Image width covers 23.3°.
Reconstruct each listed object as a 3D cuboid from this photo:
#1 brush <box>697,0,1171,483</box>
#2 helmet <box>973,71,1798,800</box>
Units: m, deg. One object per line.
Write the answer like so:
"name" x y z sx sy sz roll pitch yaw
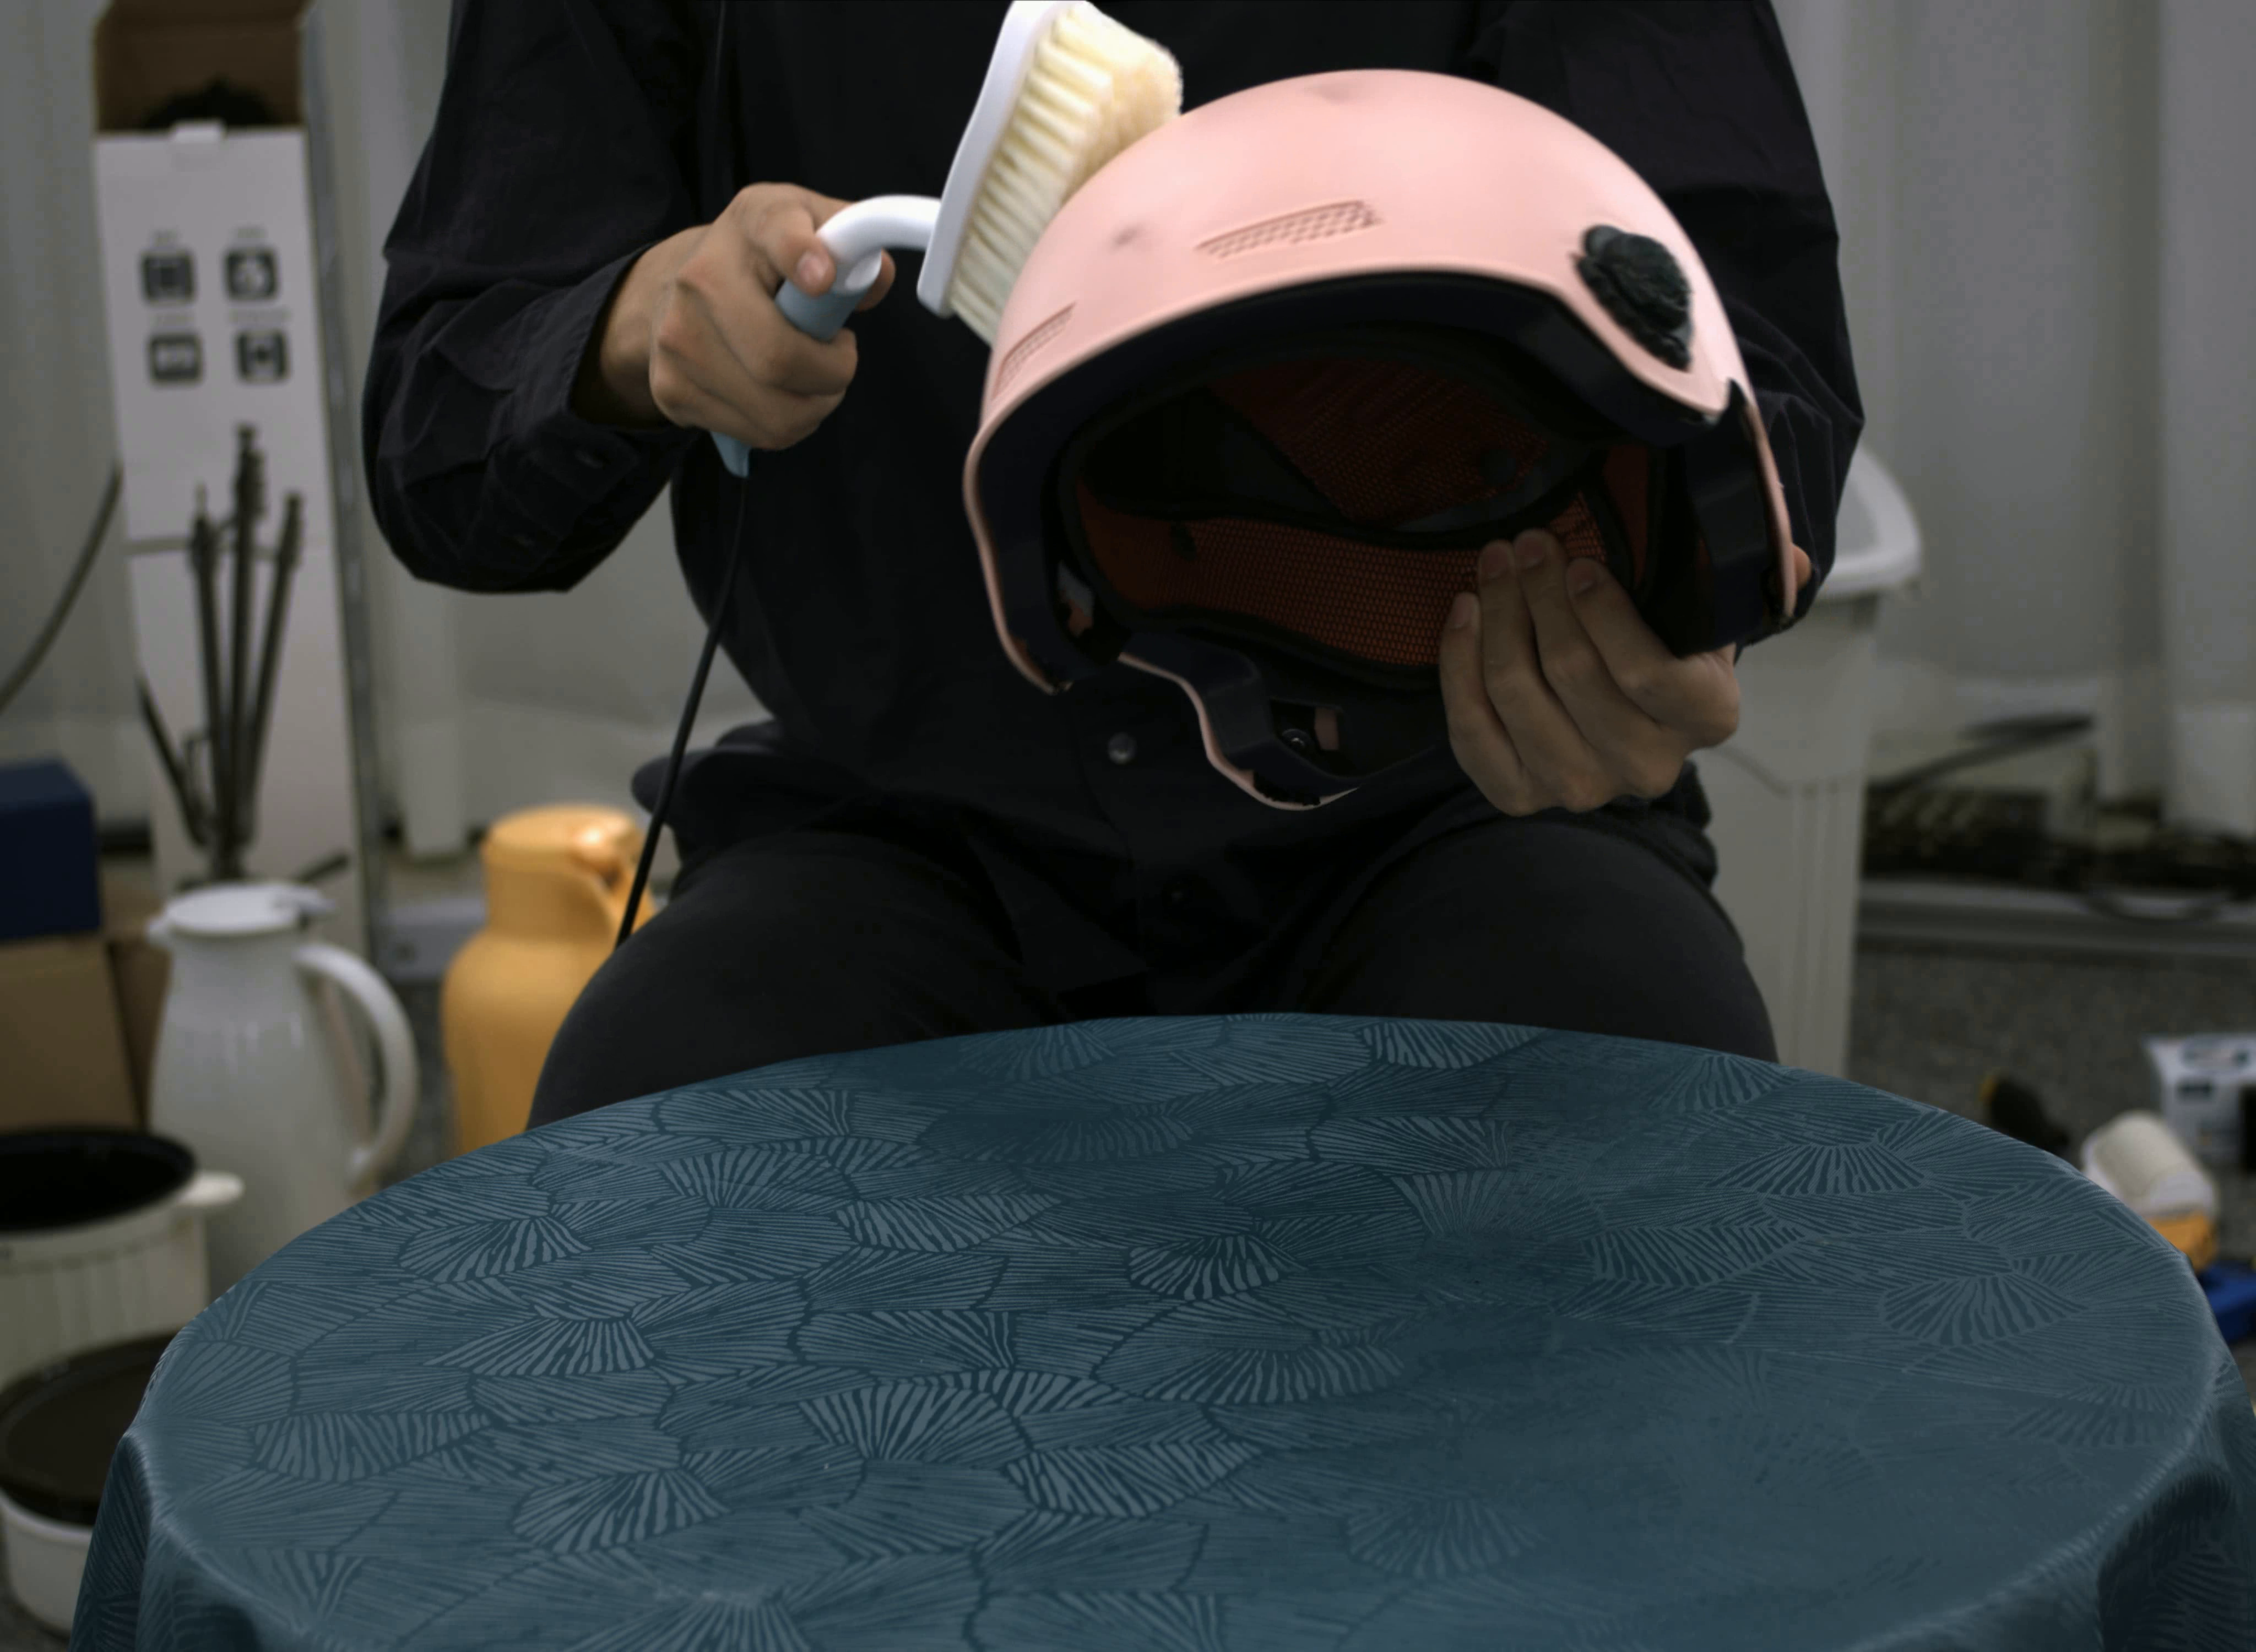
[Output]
"brush" -0.054 -0.162 1.742 0.082 0.085 0.323 -6 -18 -24
"helmet" 0.069 -0.137 1.622 0.233 0.161 0.262 -21 -34 27
